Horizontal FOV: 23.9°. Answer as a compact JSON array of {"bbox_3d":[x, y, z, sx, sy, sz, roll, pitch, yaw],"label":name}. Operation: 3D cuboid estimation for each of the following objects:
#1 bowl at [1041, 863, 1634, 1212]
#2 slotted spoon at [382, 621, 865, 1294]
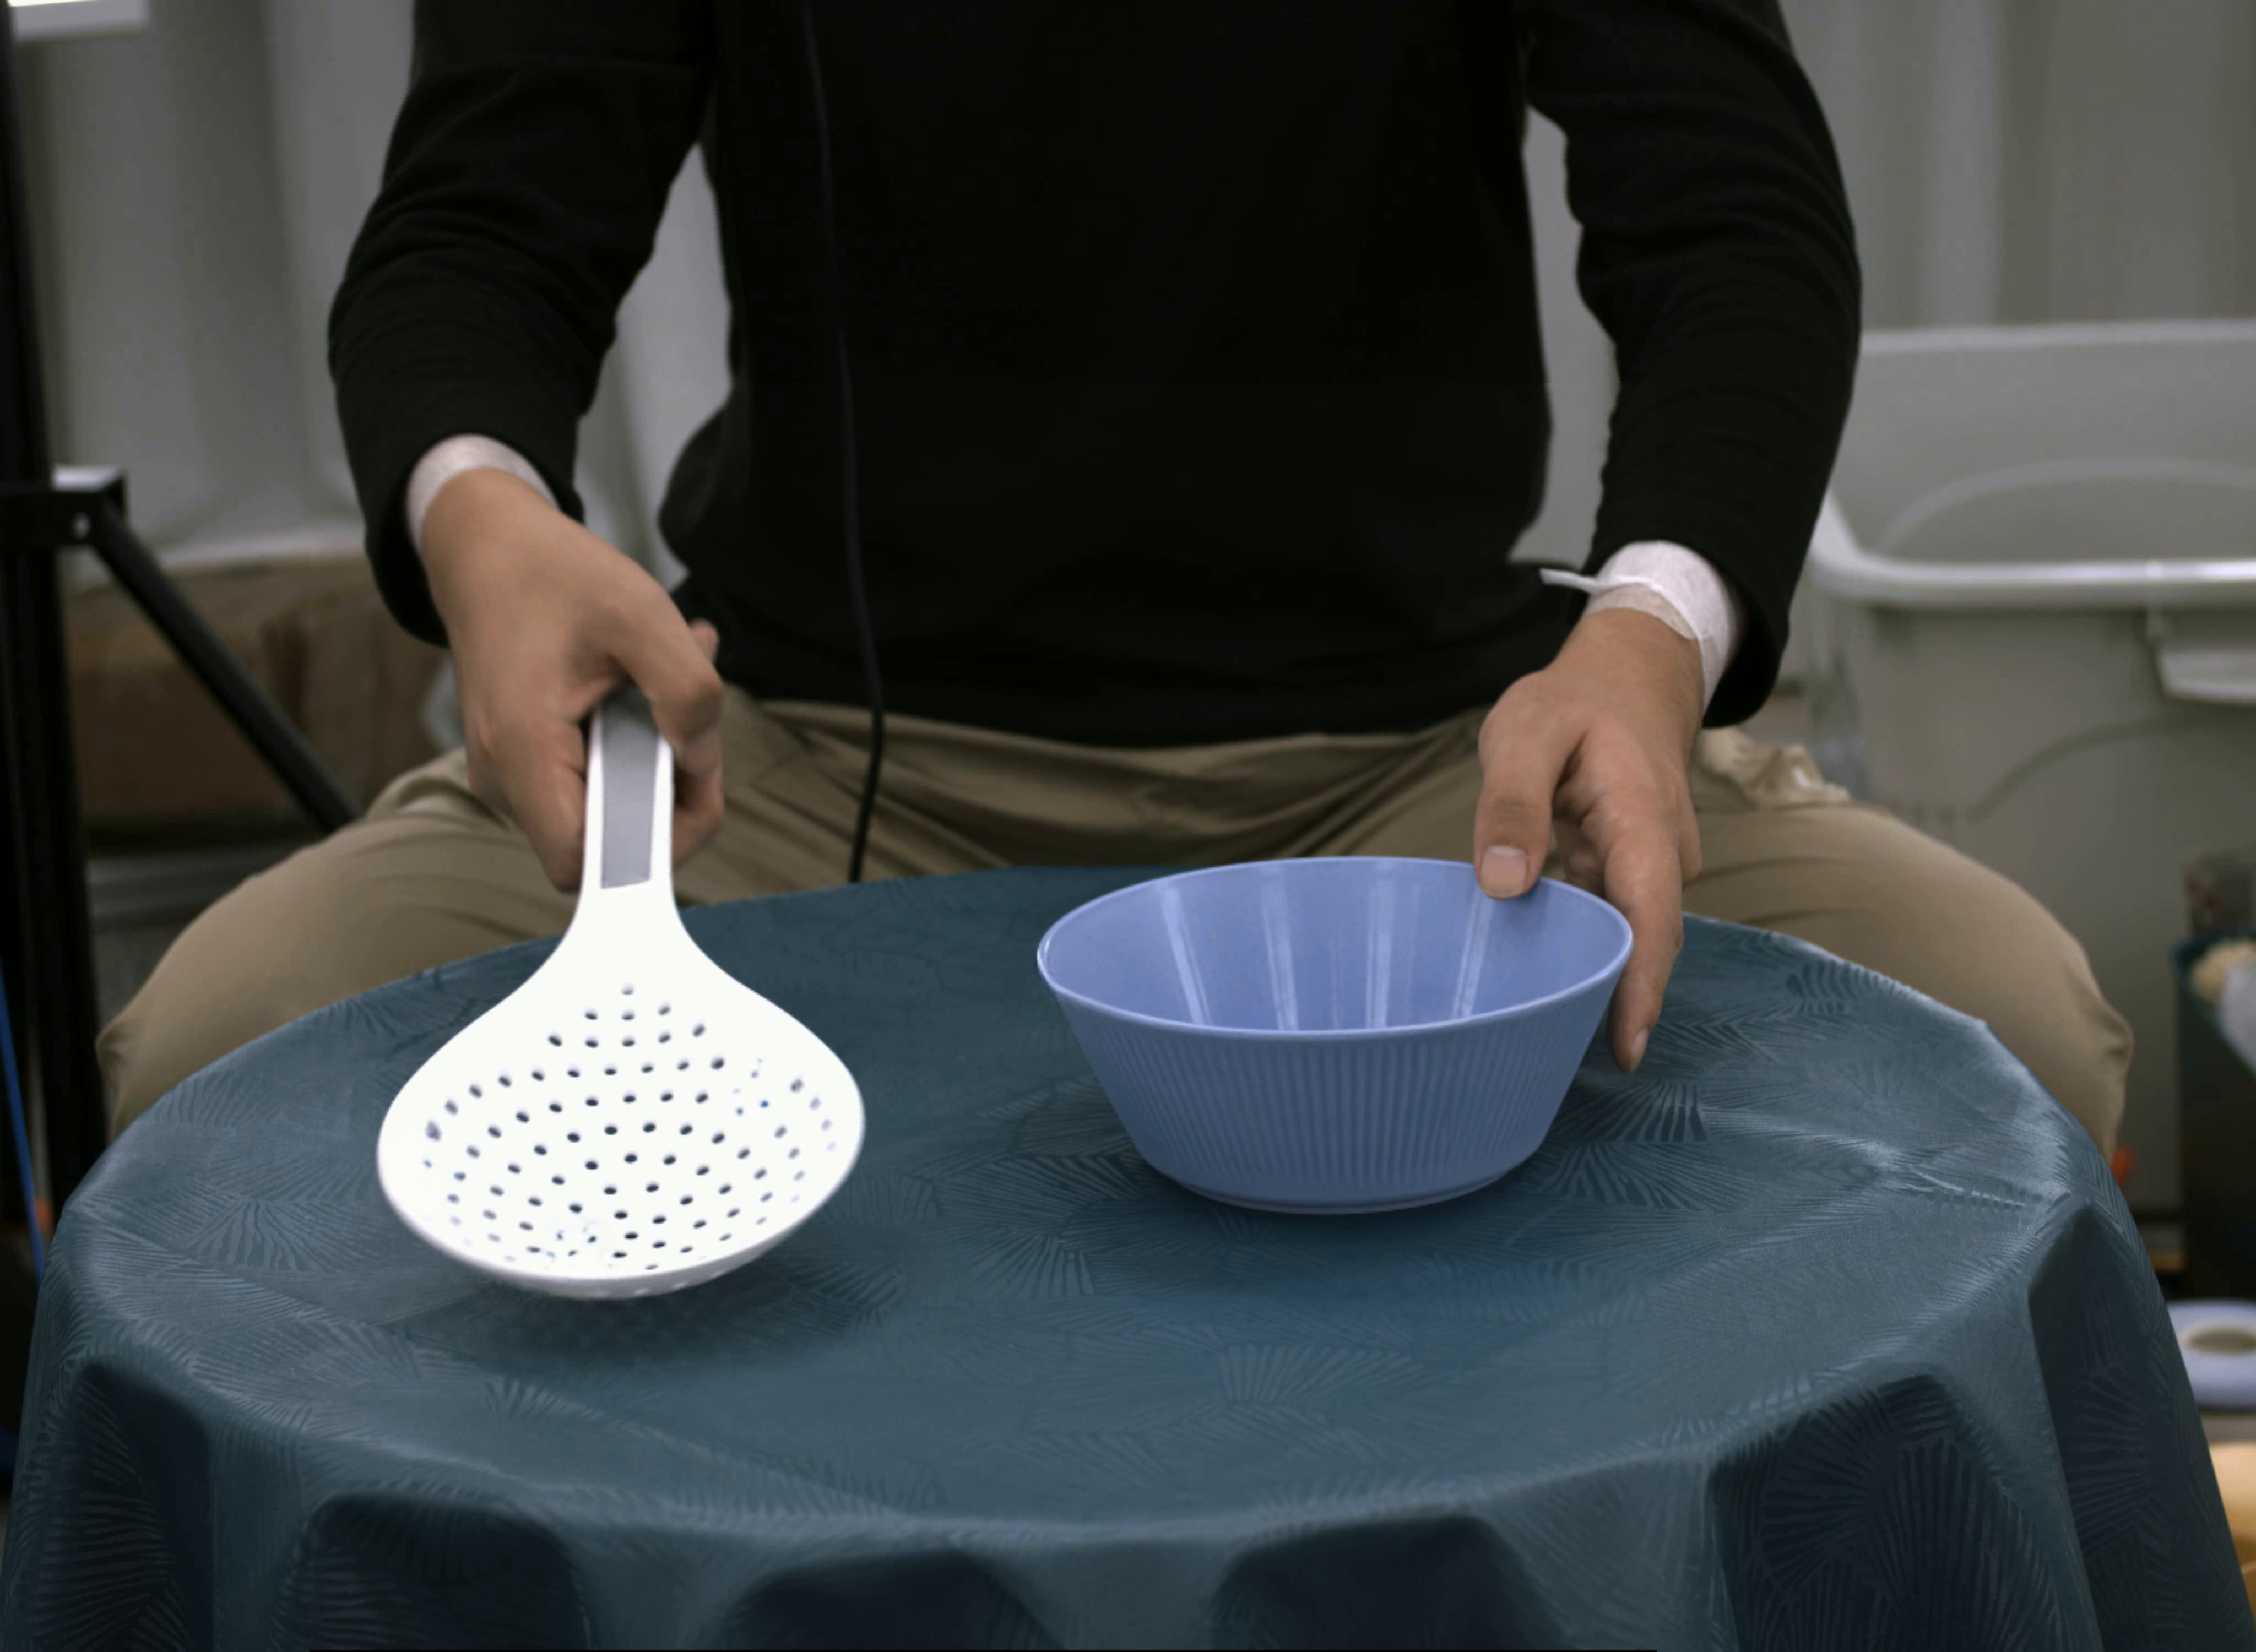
[{"bbox_3d":[0.062,0.065,1.572,0.175,0.070,0.177,-3,14,-1],"label":"bowl"},{"bbox_3d":[-0.149,0.032,1.591,0.135,0.045,0.354,-3,37,-2],"label":"slotted spoon"}]
